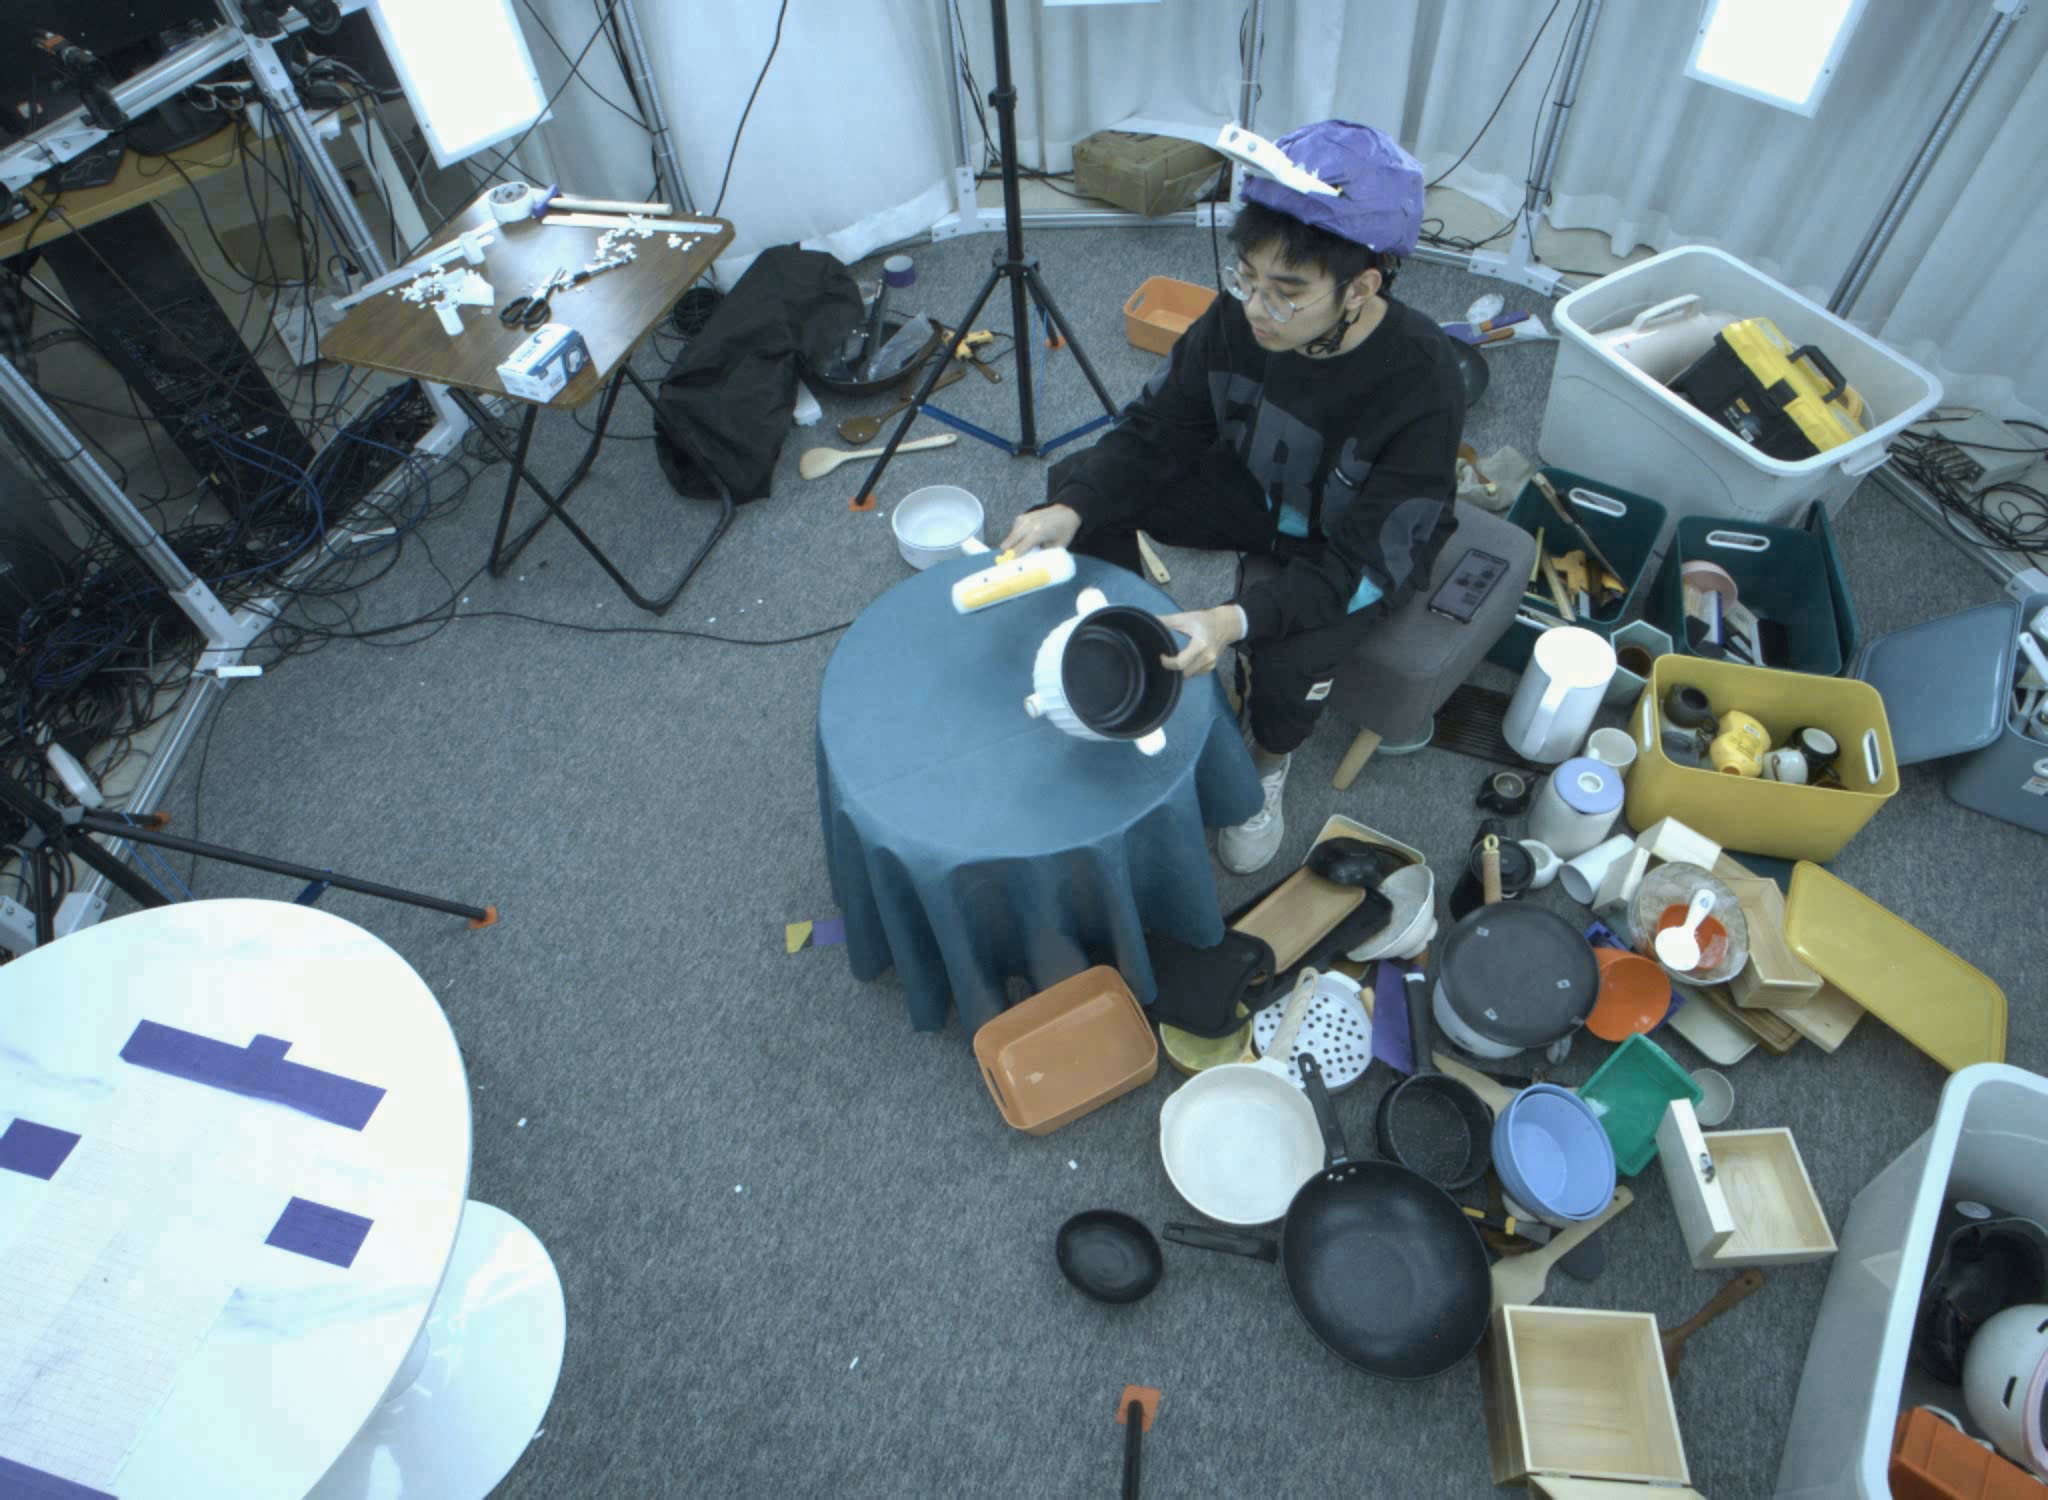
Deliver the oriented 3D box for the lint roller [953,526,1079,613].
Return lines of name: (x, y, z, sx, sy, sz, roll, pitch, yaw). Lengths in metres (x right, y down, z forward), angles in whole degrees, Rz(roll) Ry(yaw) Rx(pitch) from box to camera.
lint roller: (-0.003, -0.280, 1.835, 0.190, 0.075, 0.192, -19, 21, 23)

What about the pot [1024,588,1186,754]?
pot: (0.103, -0.098, 1.682, 0.192, 0.140, 0.242, -30, 100, -25)
